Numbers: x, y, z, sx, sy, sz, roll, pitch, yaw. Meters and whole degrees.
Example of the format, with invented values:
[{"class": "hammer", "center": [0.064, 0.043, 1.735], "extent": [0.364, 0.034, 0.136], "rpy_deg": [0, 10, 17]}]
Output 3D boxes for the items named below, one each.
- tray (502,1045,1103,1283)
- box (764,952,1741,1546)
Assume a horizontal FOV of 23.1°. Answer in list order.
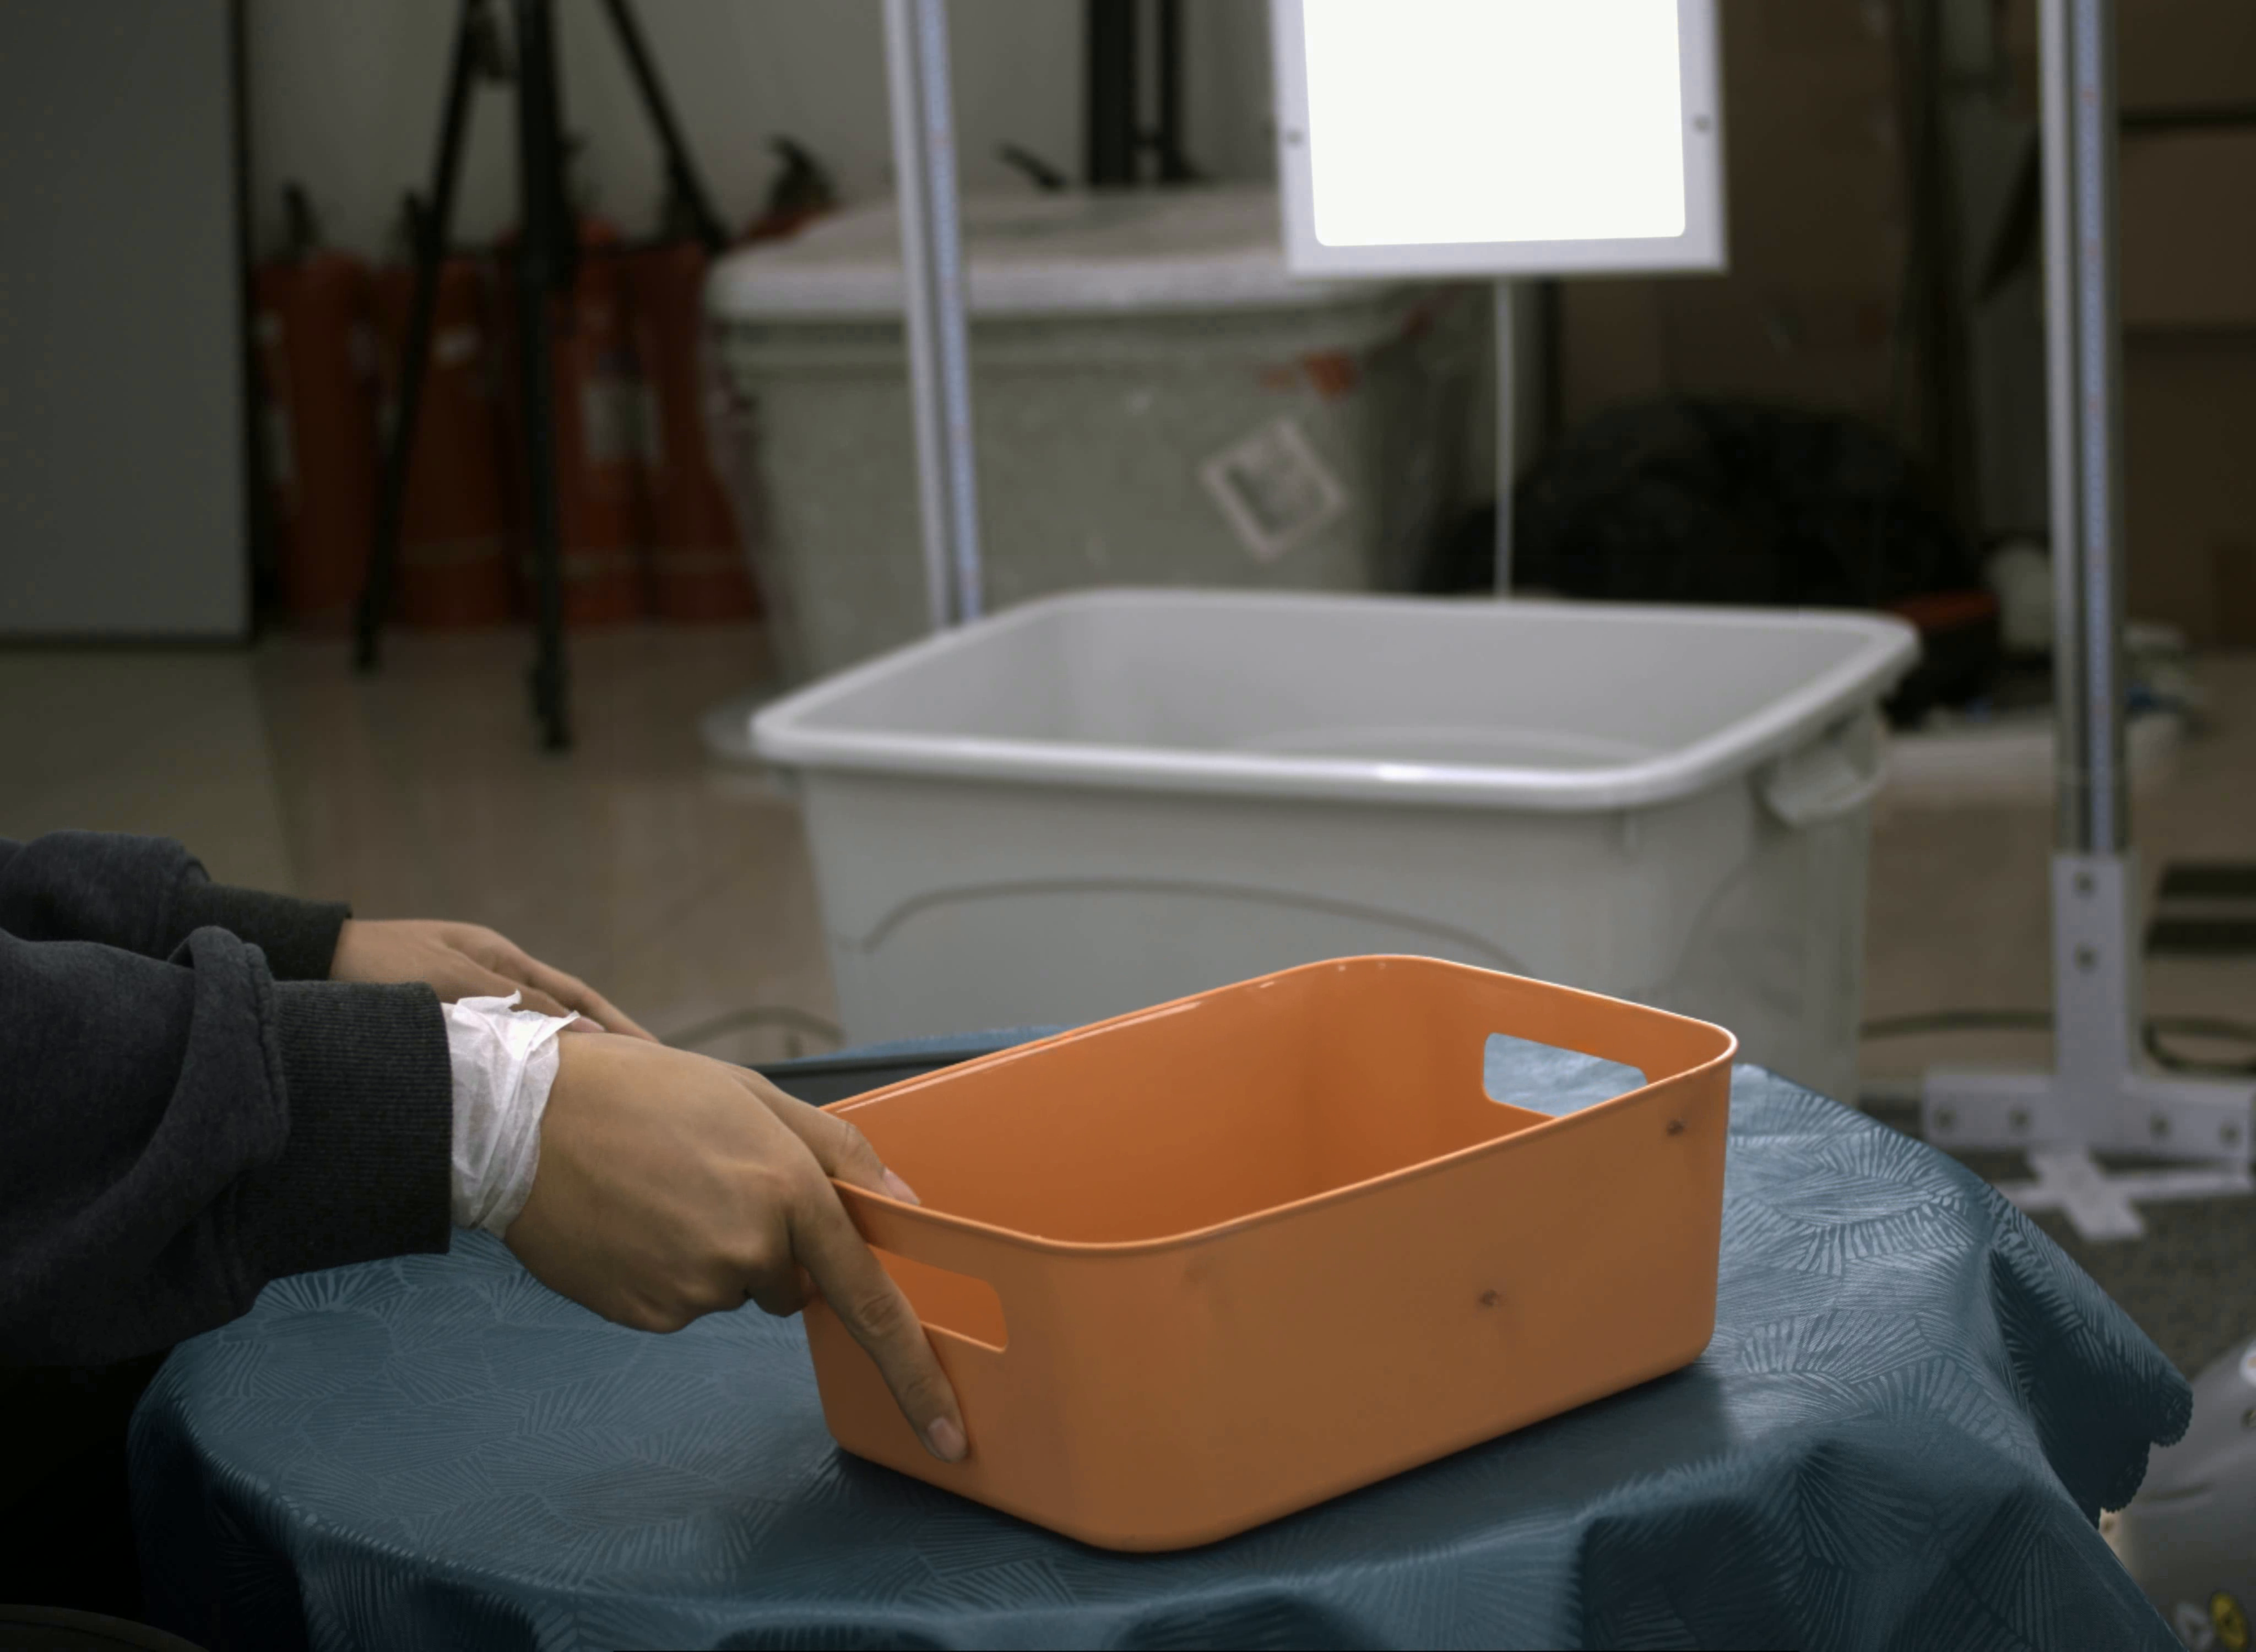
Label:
[{"class": "tray", "center": [-0.057, 0.113, 1.935], "extent": [0.323, 0.010, 0.212], "rpy_deg": [-5, 15, -6]}, {"class": "box", "center": [0.041, 0.125, 1.669], "extent": [0.266, 0.103, 0.203], "rpy_deg": [-15, 17, -36]}]
